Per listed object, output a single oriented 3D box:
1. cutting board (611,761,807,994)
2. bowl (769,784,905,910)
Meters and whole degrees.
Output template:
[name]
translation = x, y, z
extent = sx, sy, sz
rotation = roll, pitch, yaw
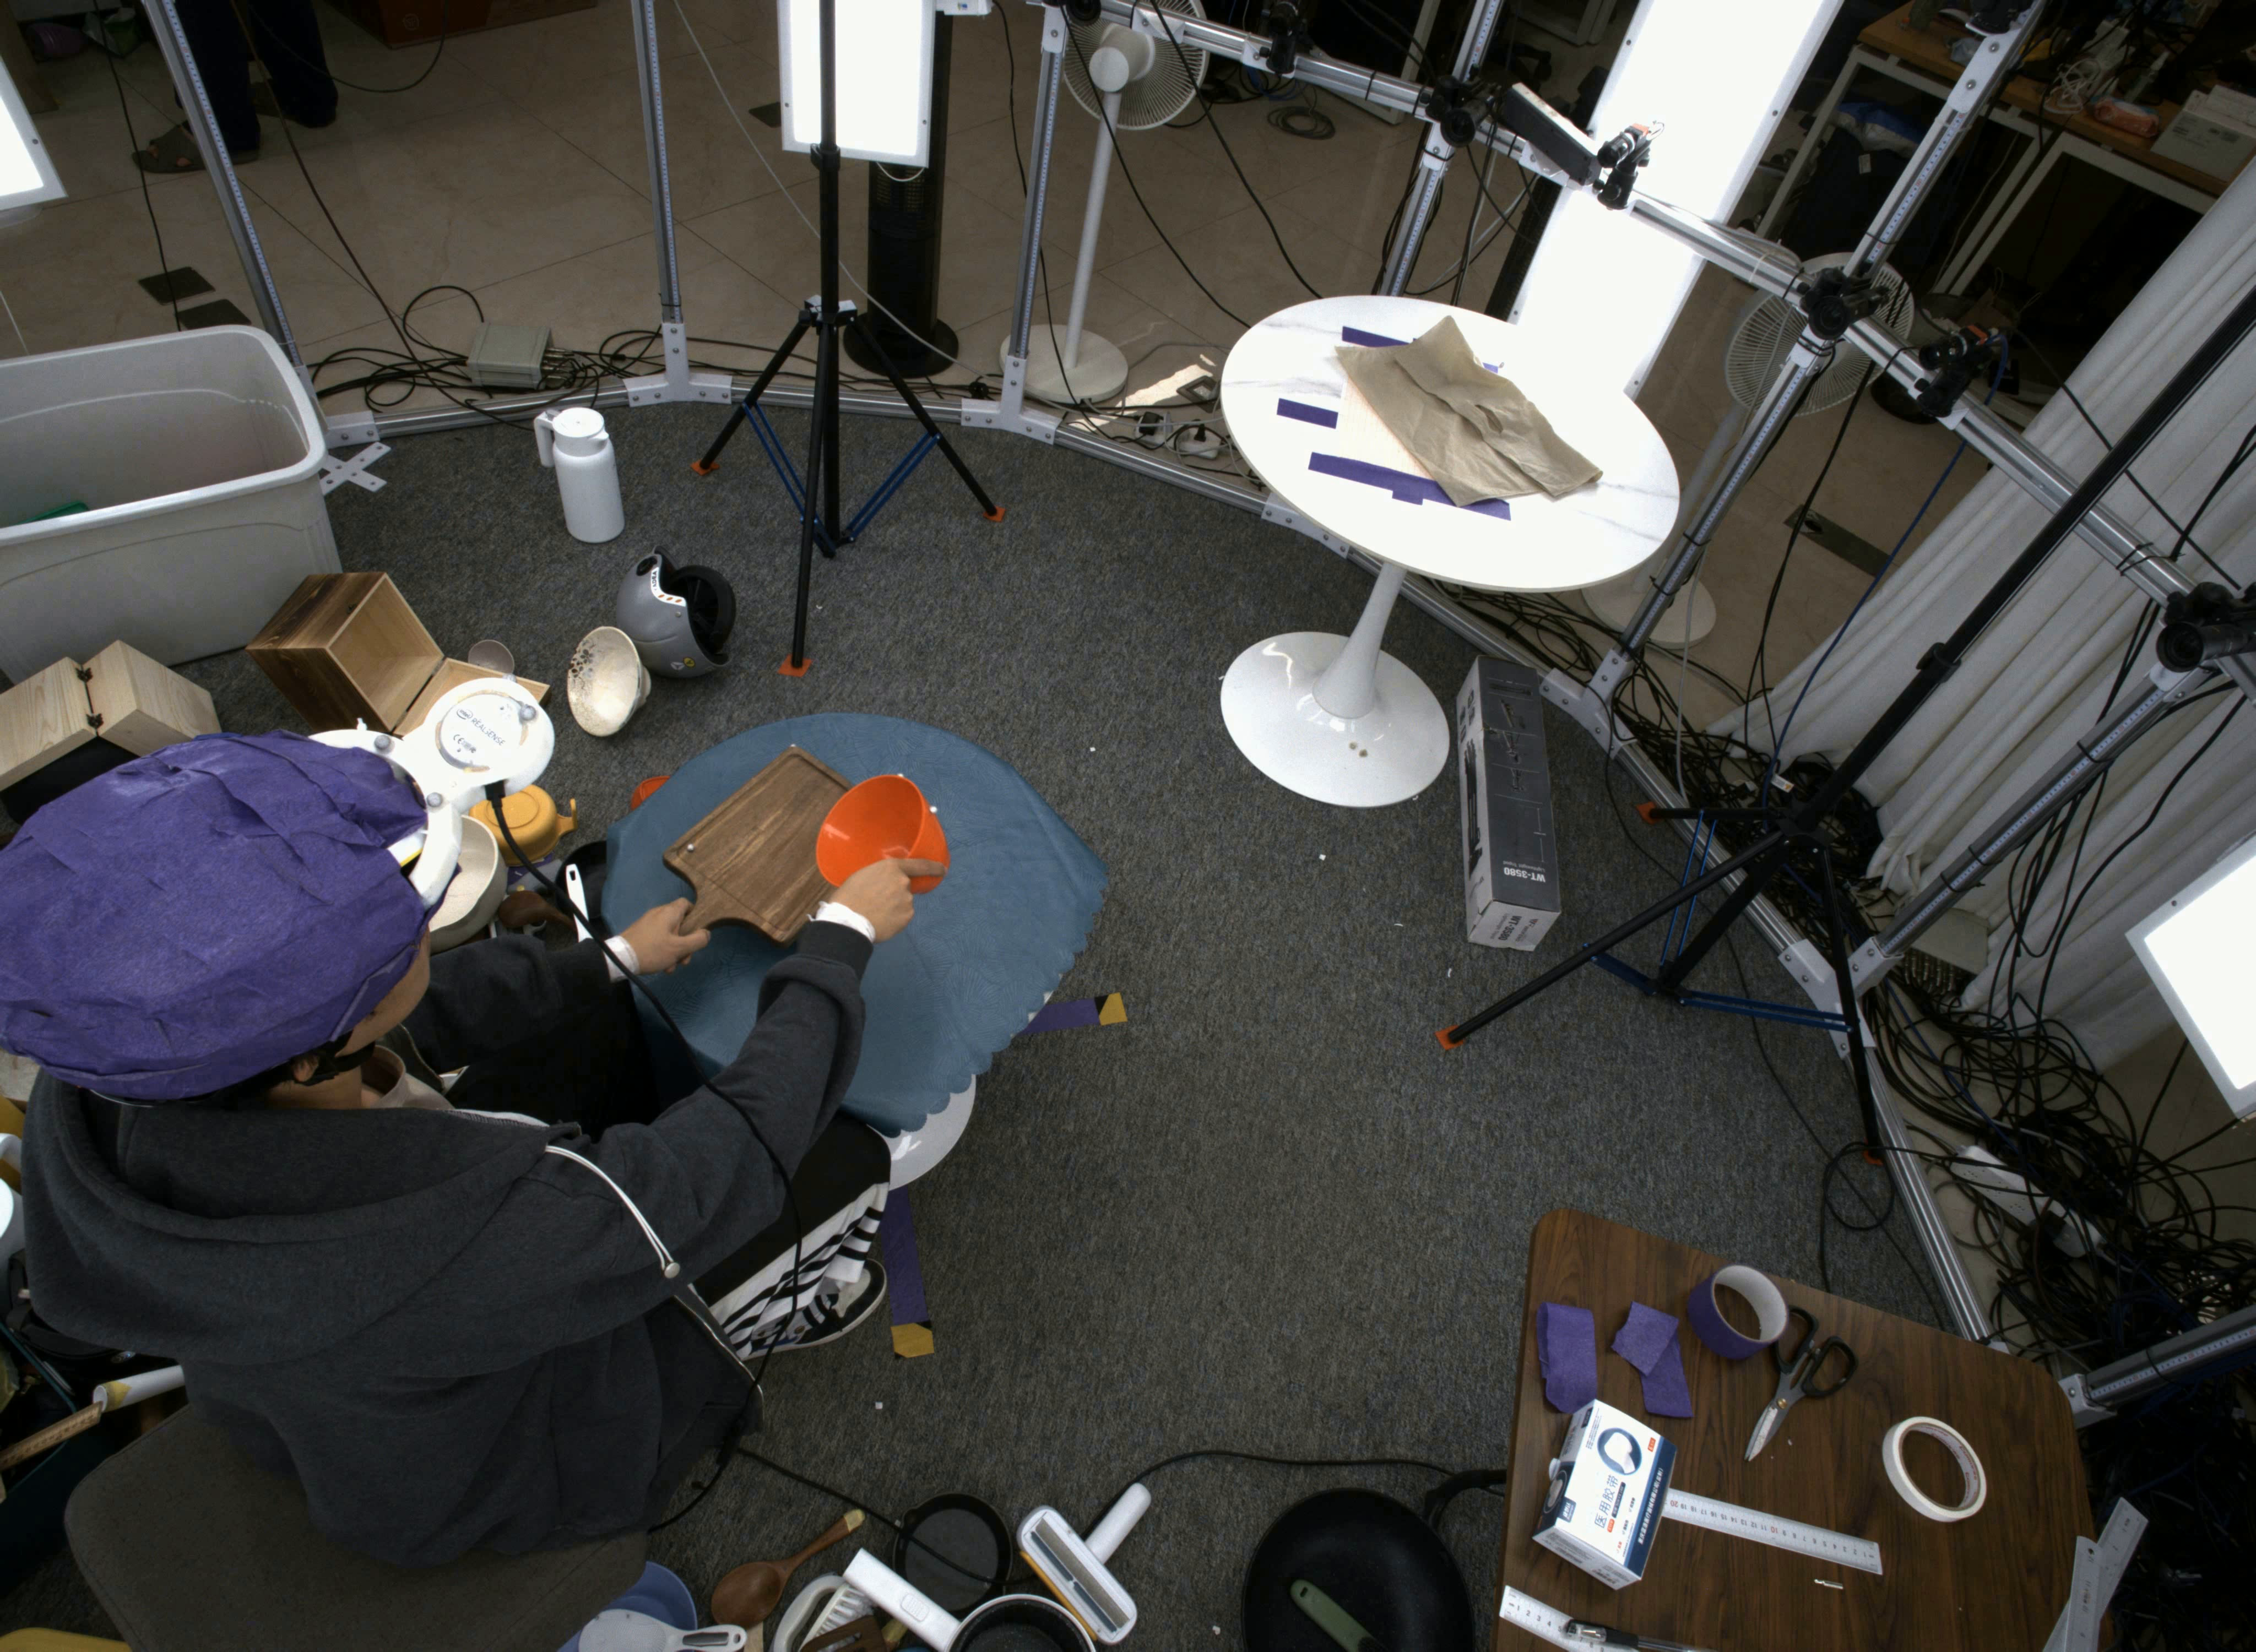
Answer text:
[cutting board]
translation = -0.509, 0.071, 1.575
extent = 0.199, 0.023, 0.350
rotation = 32, 50, 5
[bowl]
translation = -0.320, 0.037, 1.481
extent = 0.145, 0.108, 0.146
rotation = -19, 53, 28
